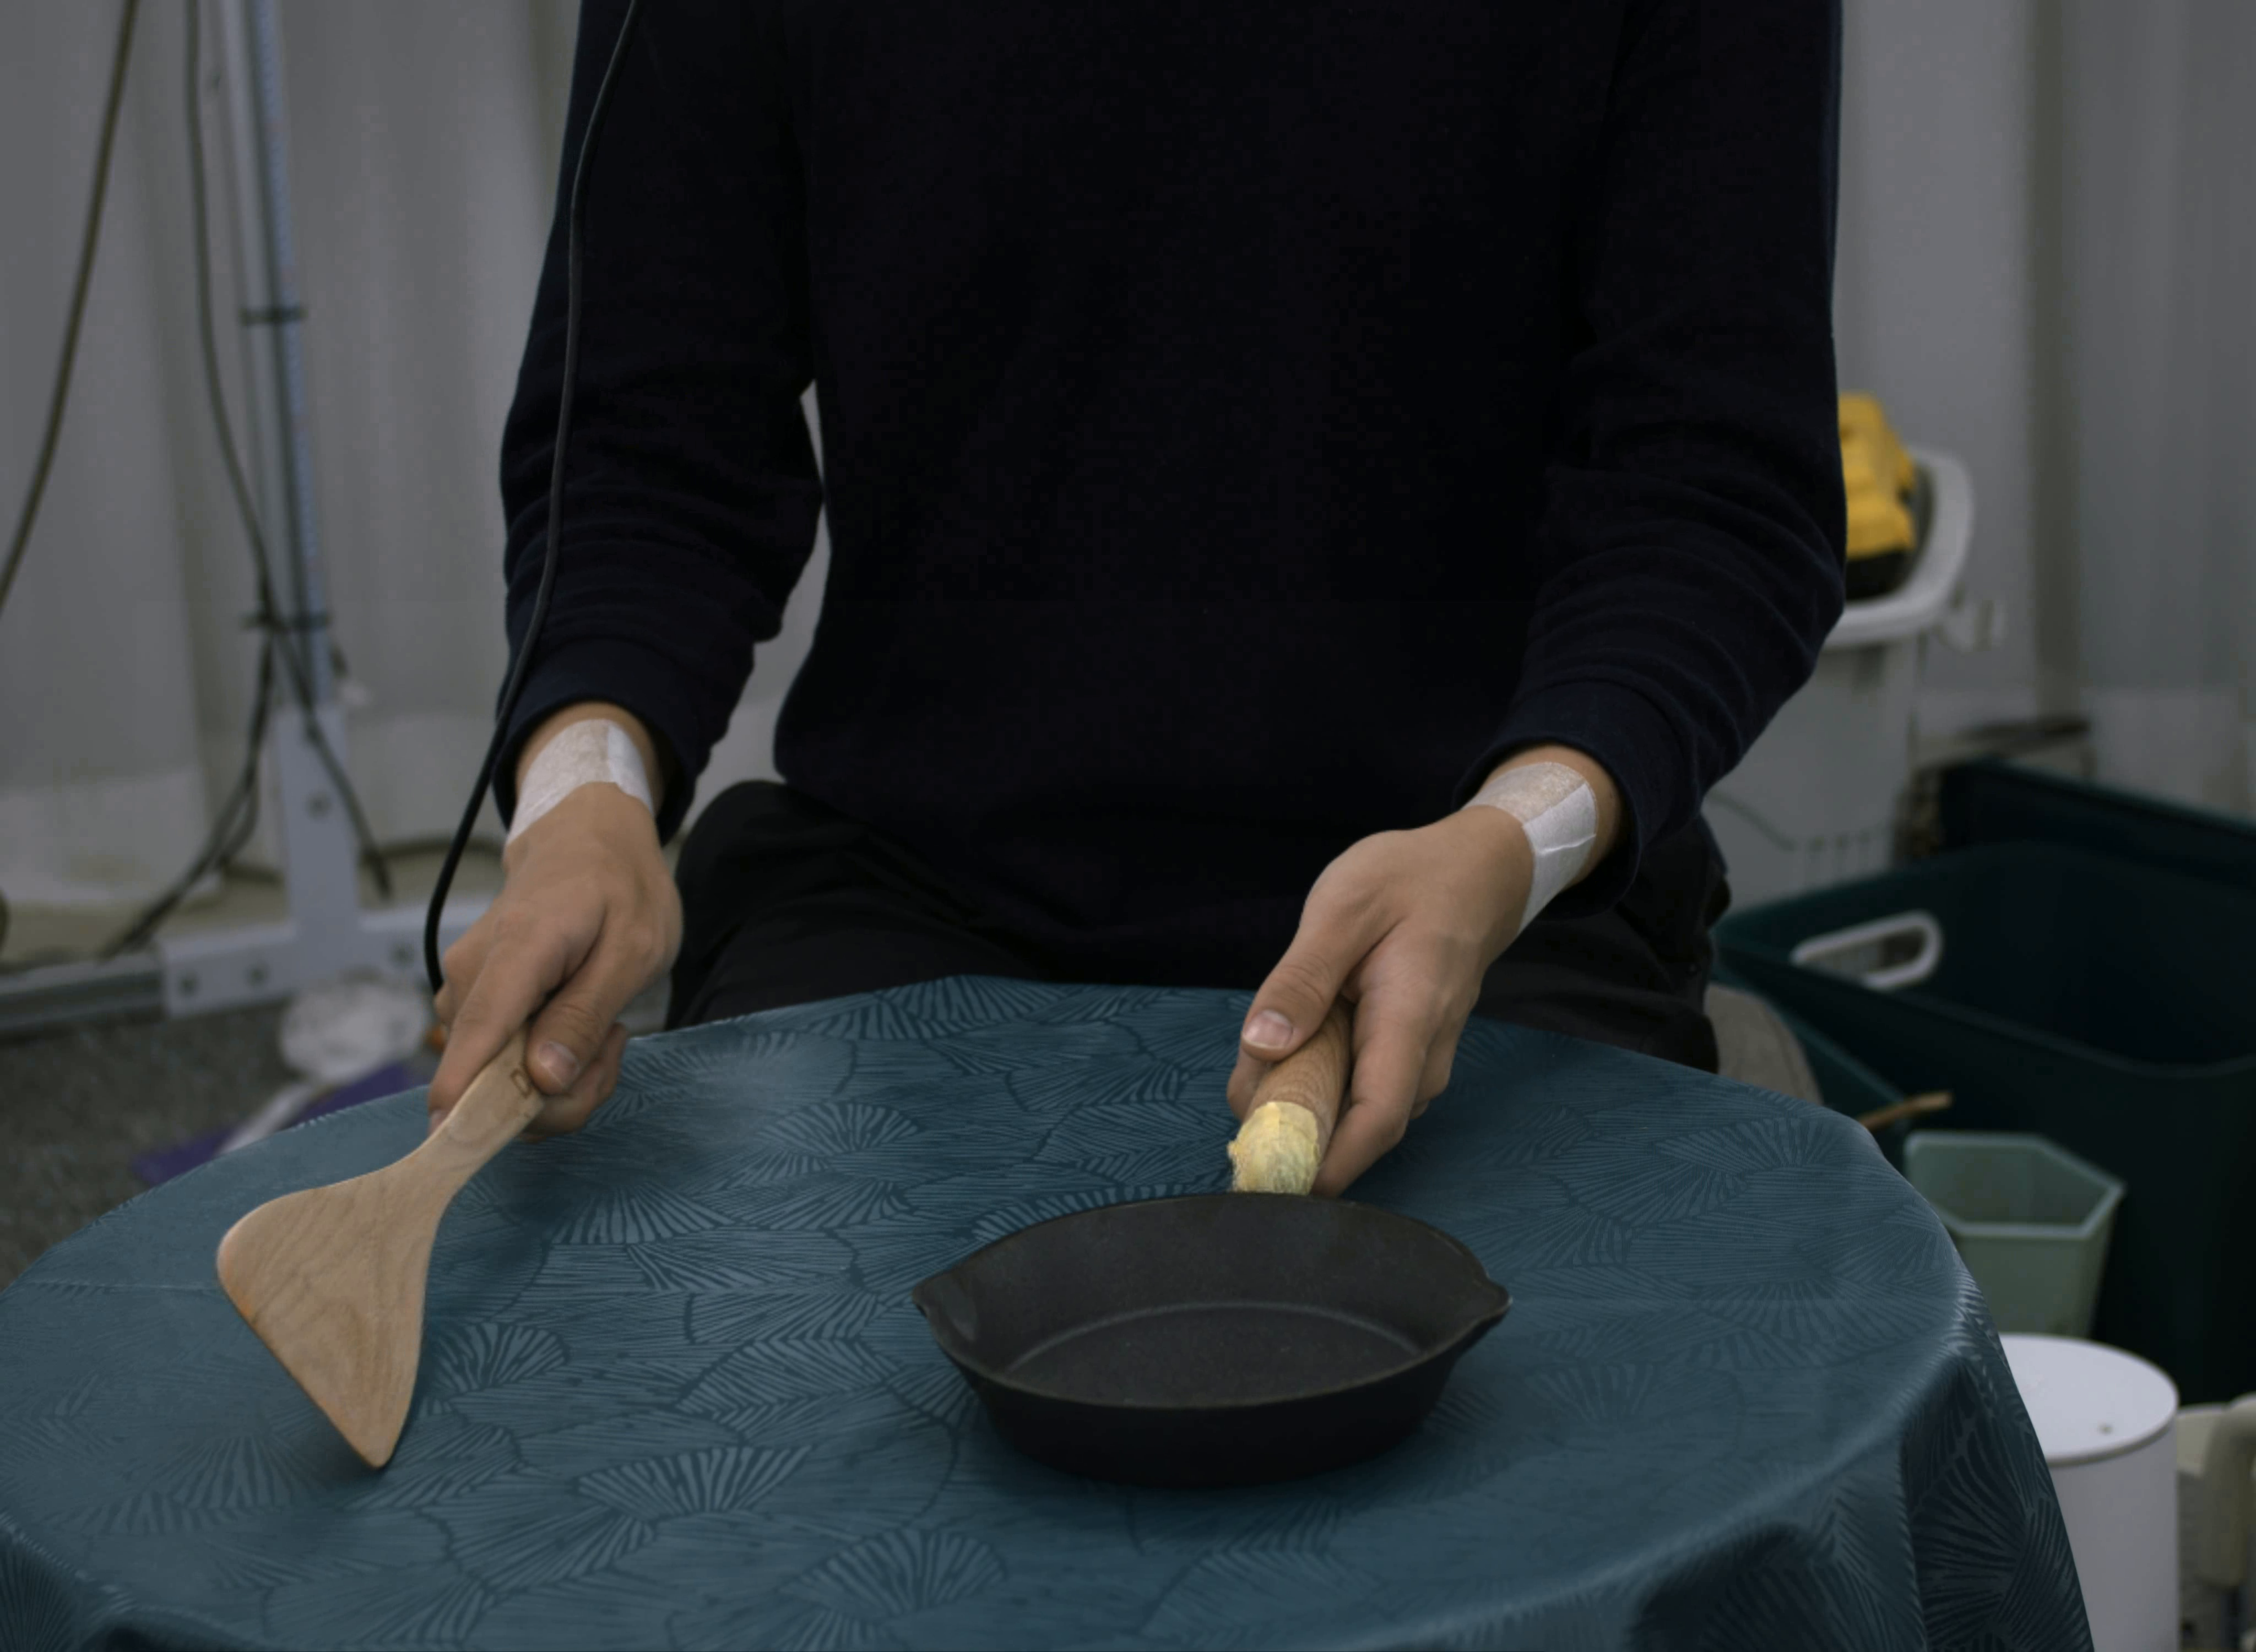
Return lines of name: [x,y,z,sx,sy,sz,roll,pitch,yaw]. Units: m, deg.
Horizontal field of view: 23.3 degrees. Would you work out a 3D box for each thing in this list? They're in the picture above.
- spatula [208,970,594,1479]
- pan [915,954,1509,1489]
spatula: [-0.206,0.105,1.645,0.016,0.079,0.330,-31,10,18]
pan: [0.041,0.112,1.603,0.169,0.049,0.326,1,19,13]
